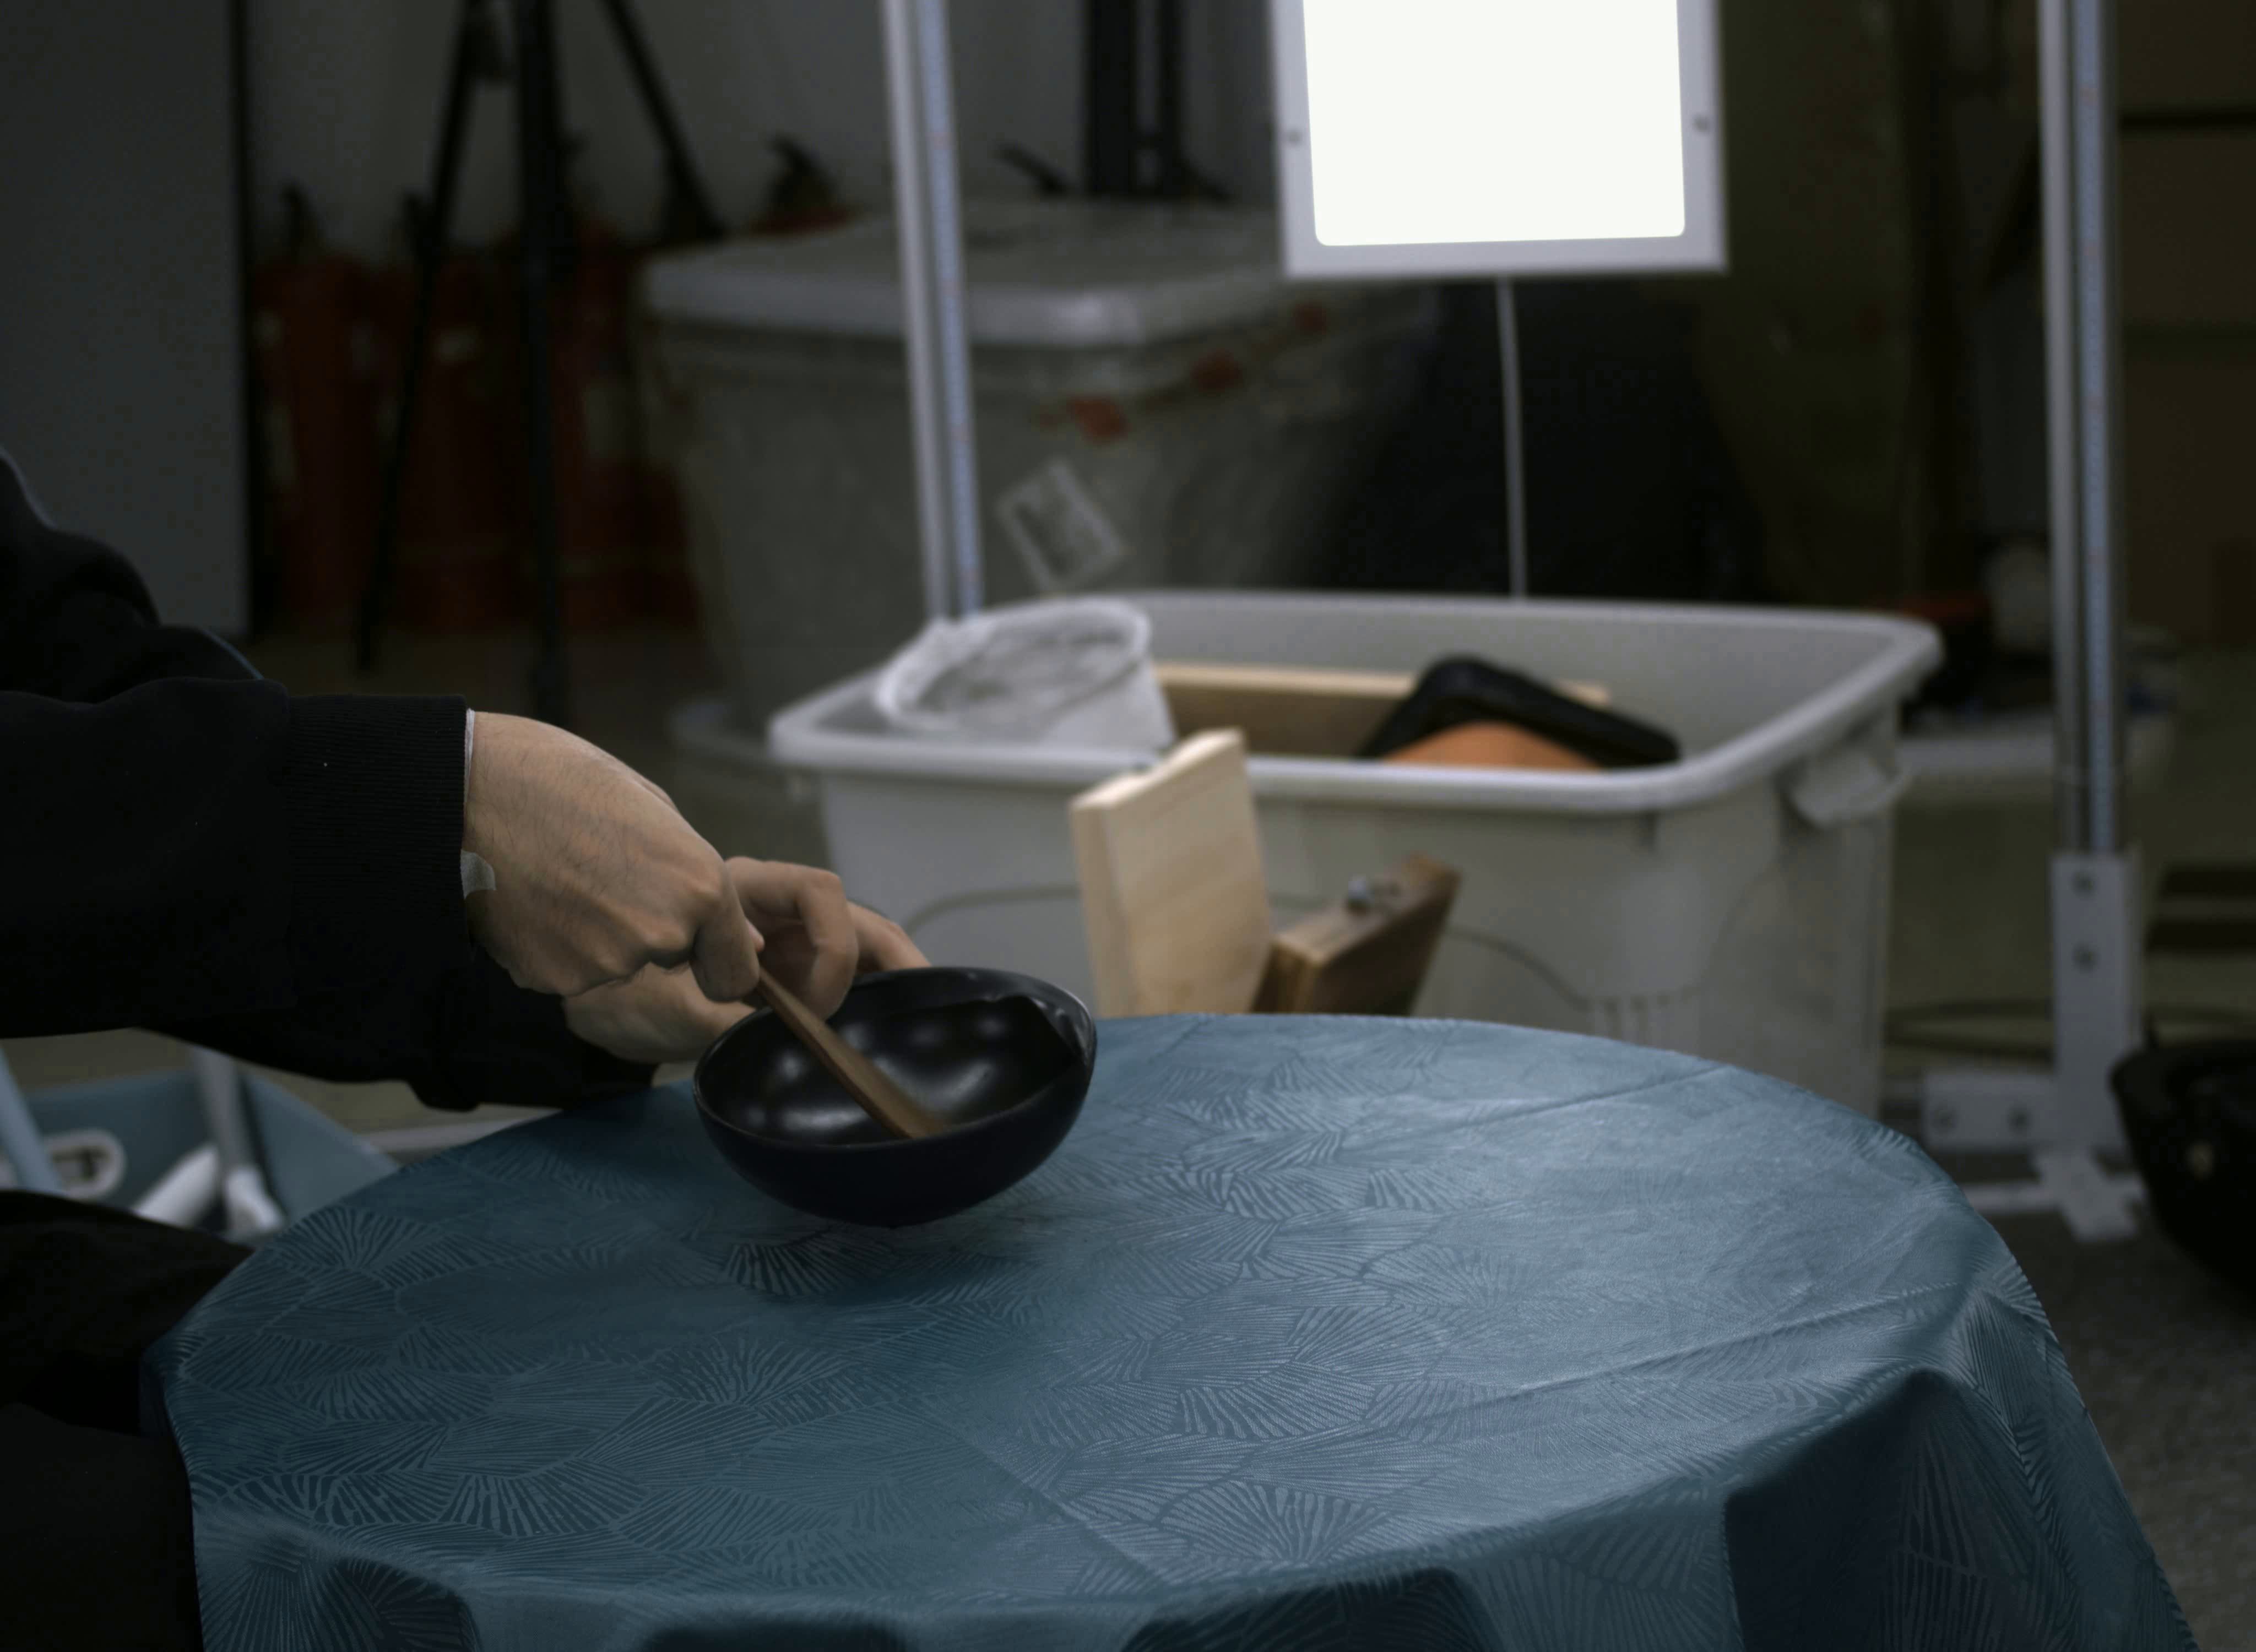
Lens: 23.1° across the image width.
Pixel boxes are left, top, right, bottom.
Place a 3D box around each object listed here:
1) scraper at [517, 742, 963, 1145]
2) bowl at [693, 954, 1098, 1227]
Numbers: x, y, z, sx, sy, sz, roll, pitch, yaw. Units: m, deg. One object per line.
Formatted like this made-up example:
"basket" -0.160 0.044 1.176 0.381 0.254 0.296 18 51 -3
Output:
"scraper" -0.127 0.045 1.851 0.011 0.210 0.076 -46 10 4
"bowl" -0.076 0.097 1.874 0.140 0.050 0.139 -9 26 3
